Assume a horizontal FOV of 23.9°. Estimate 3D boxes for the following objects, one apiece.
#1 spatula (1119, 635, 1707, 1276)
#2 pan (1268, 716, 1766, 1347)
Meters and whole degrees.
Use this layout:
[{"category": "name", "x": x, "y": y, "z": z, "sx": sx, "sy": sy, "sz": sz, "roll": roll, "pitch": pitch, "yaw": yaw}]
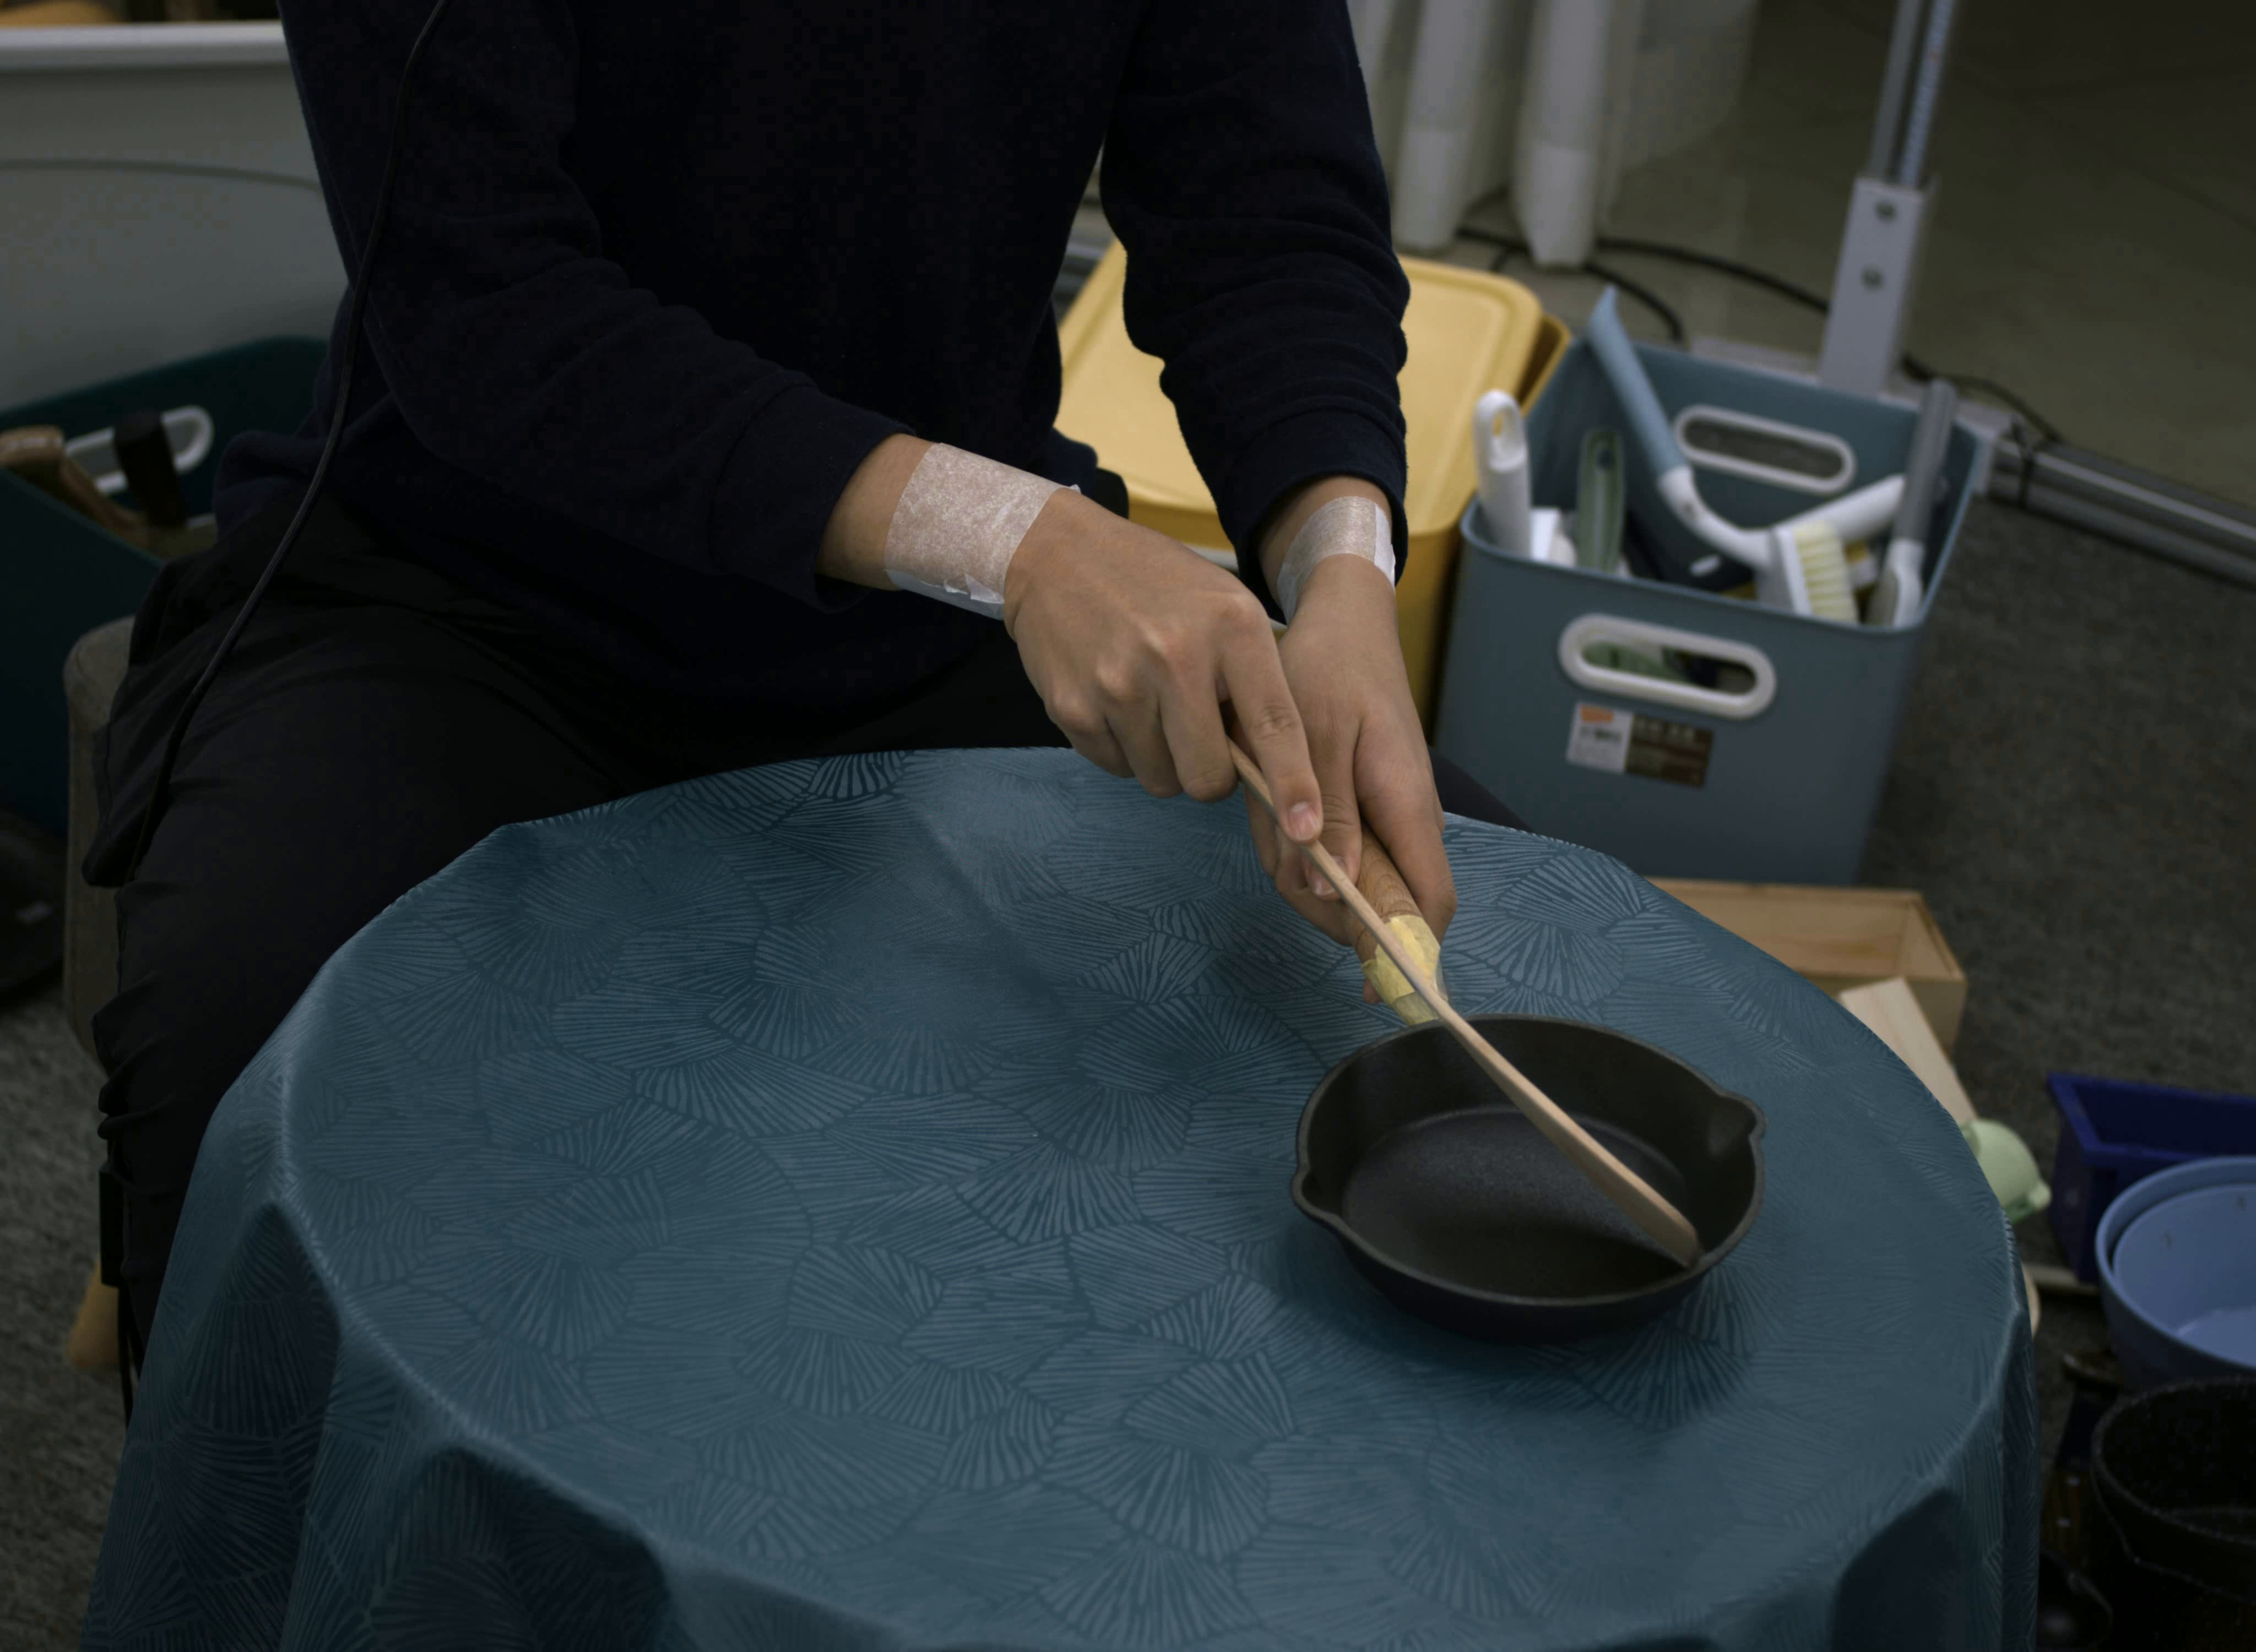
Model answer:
[{"category": "spatula", "x": 0.094, "y": 0.039, "z": 1.816, "sx": 0.016, "sy": 0.079, "sz": 0.330, "roll": -39, "pitch": 58, "yaw": -2}, {"category": "pan", "x": 0.109, "y": 0.068, "z": 1.844, "sx": 0.168, "sy": 0.049, "sz": 0.327, "roll": -8, "pitch": 37, "yaw": -15}]
